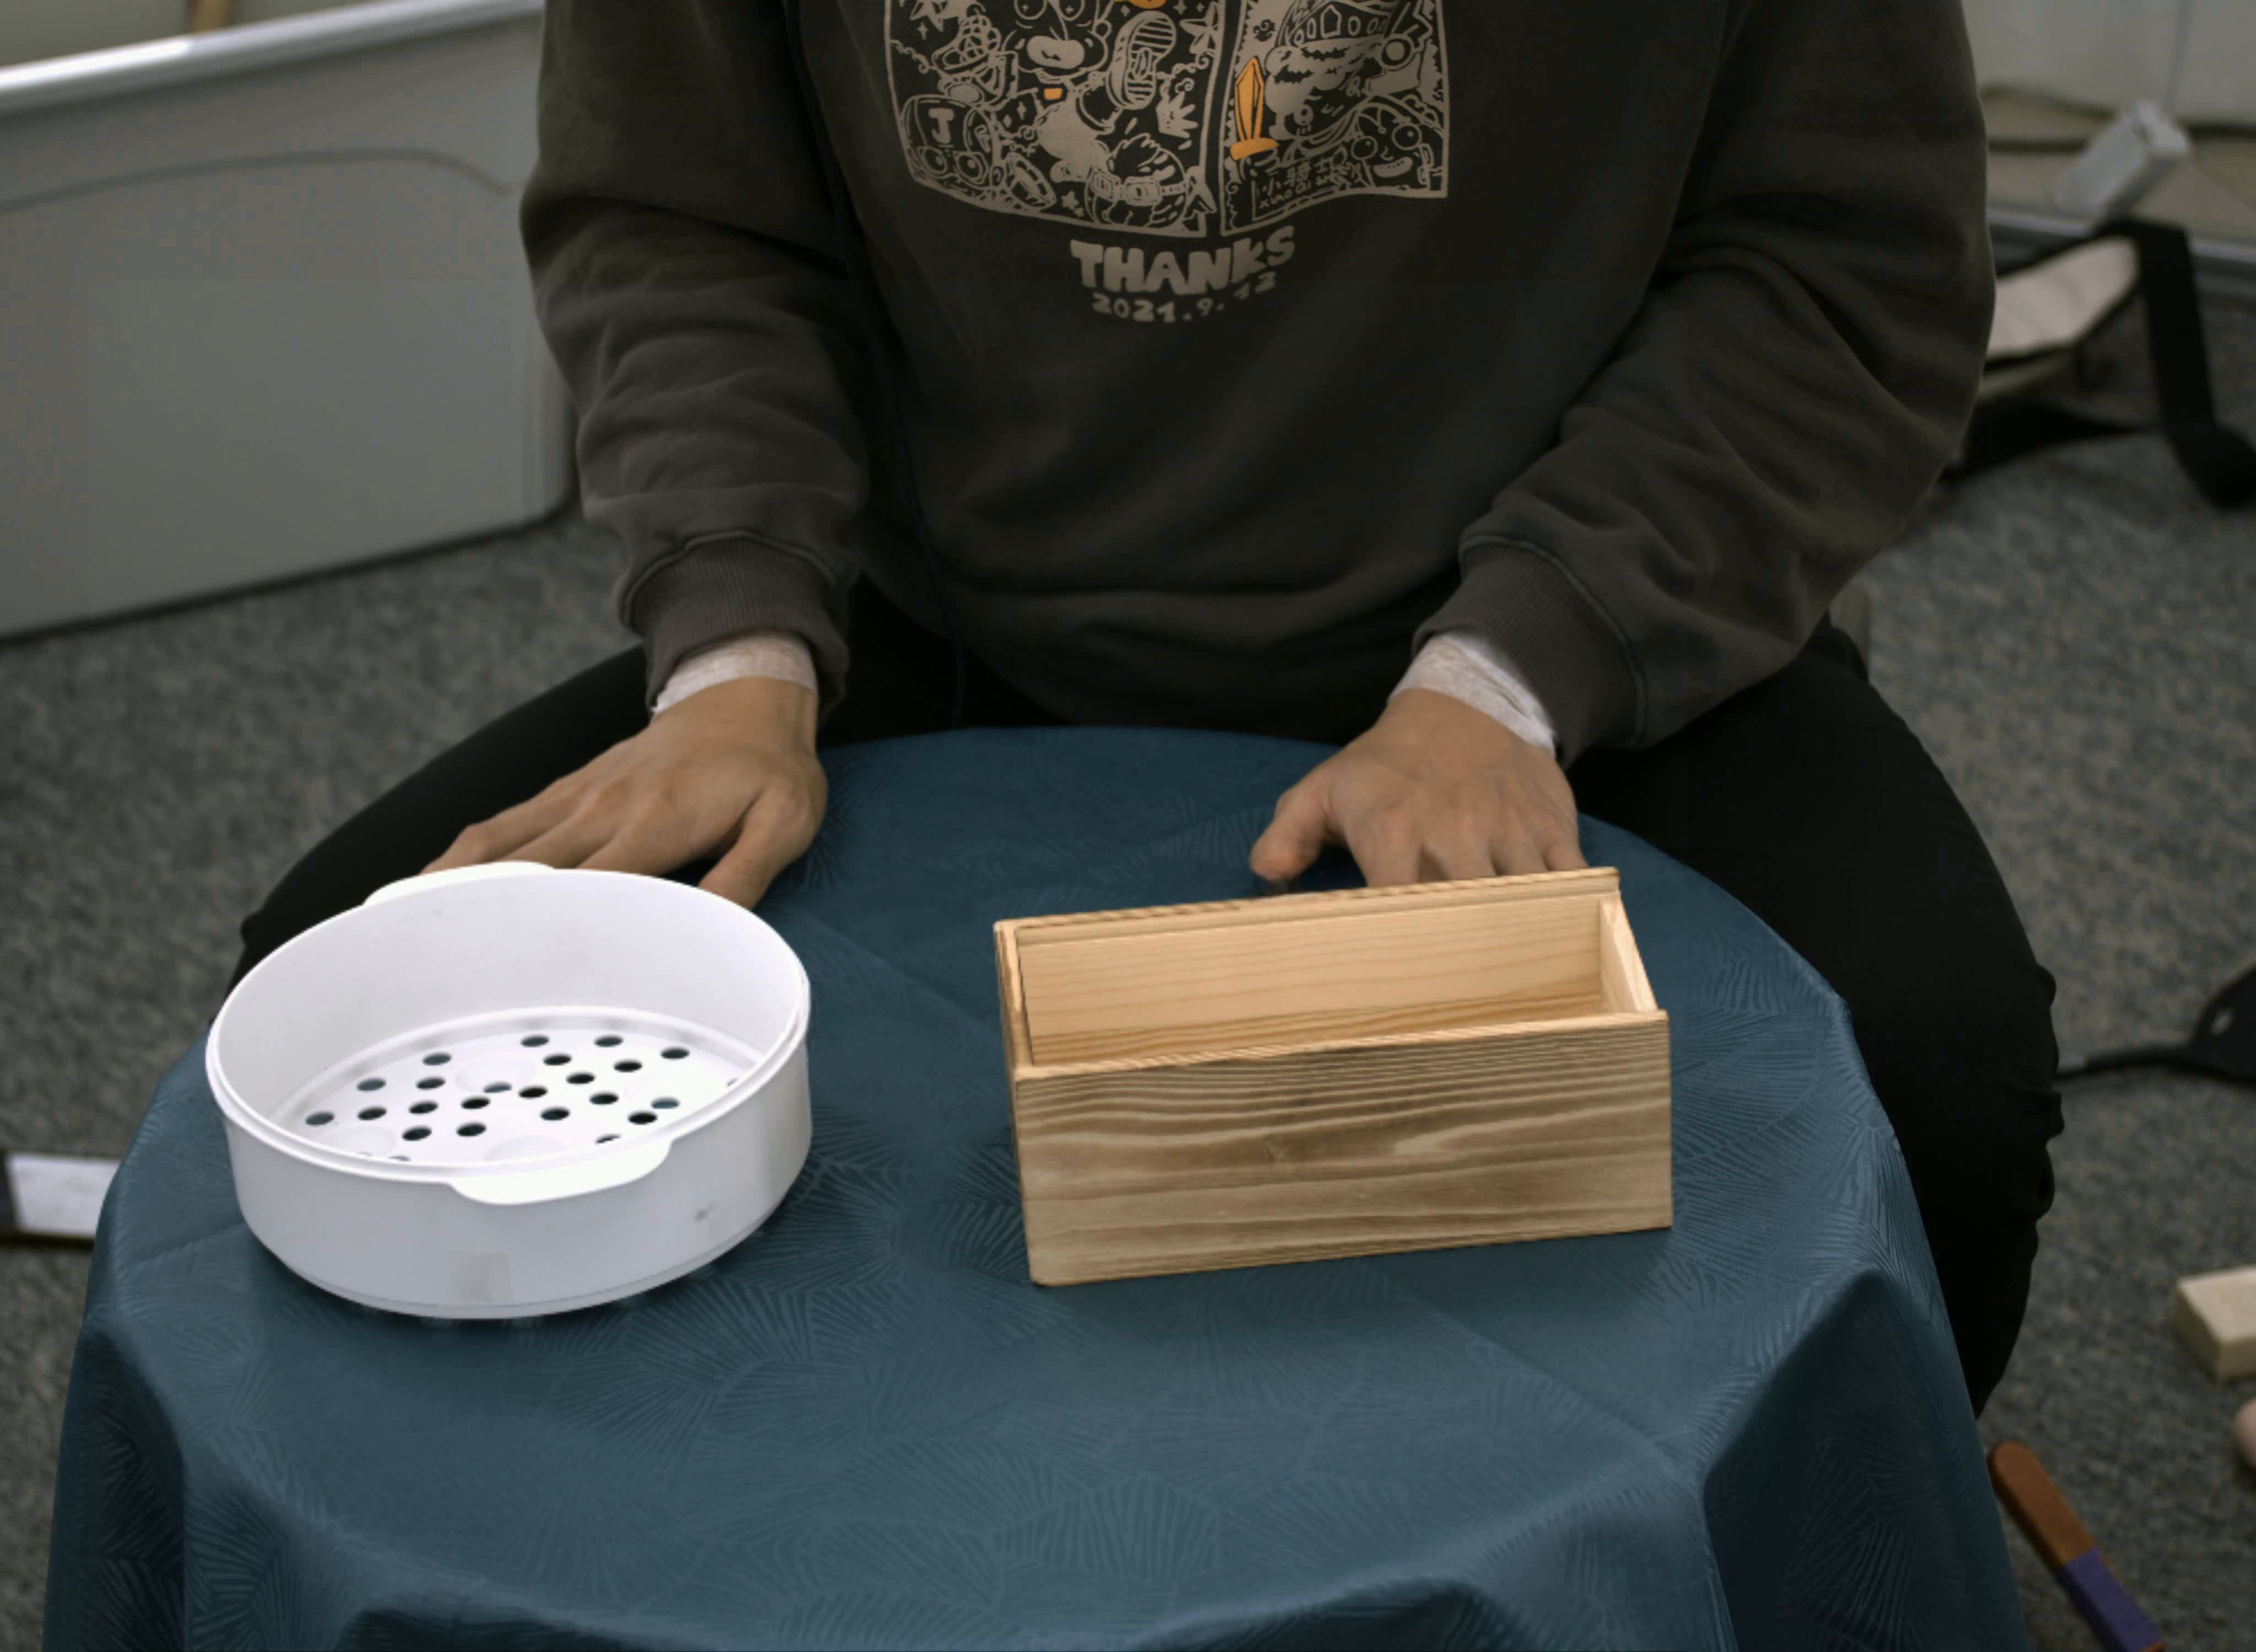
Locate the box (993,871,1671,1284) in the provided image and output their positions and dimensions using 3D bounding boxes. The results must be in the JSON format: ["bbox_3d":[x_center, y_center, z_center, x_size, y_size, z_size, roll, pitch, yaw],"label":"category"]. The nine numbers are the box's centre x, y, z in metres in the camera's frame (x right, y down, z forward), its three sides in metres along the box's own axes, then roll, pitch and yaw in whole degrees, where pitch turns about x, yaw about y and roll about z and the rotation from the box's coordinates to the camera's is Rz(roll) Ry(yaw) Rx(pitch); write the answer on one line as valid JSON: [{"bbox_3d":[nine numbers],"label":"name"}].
[{"bbox_3d":[0.065,0.081,1.845,0.211,0.079,0.109,-5,26,-4],"label":"box"}]

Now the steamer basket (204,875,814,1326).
[{"bbox_3d":[-0.202,0.093,1.865,0.202,0.068,0.233,-9,27,-13],"label":"steamer basket"}]
